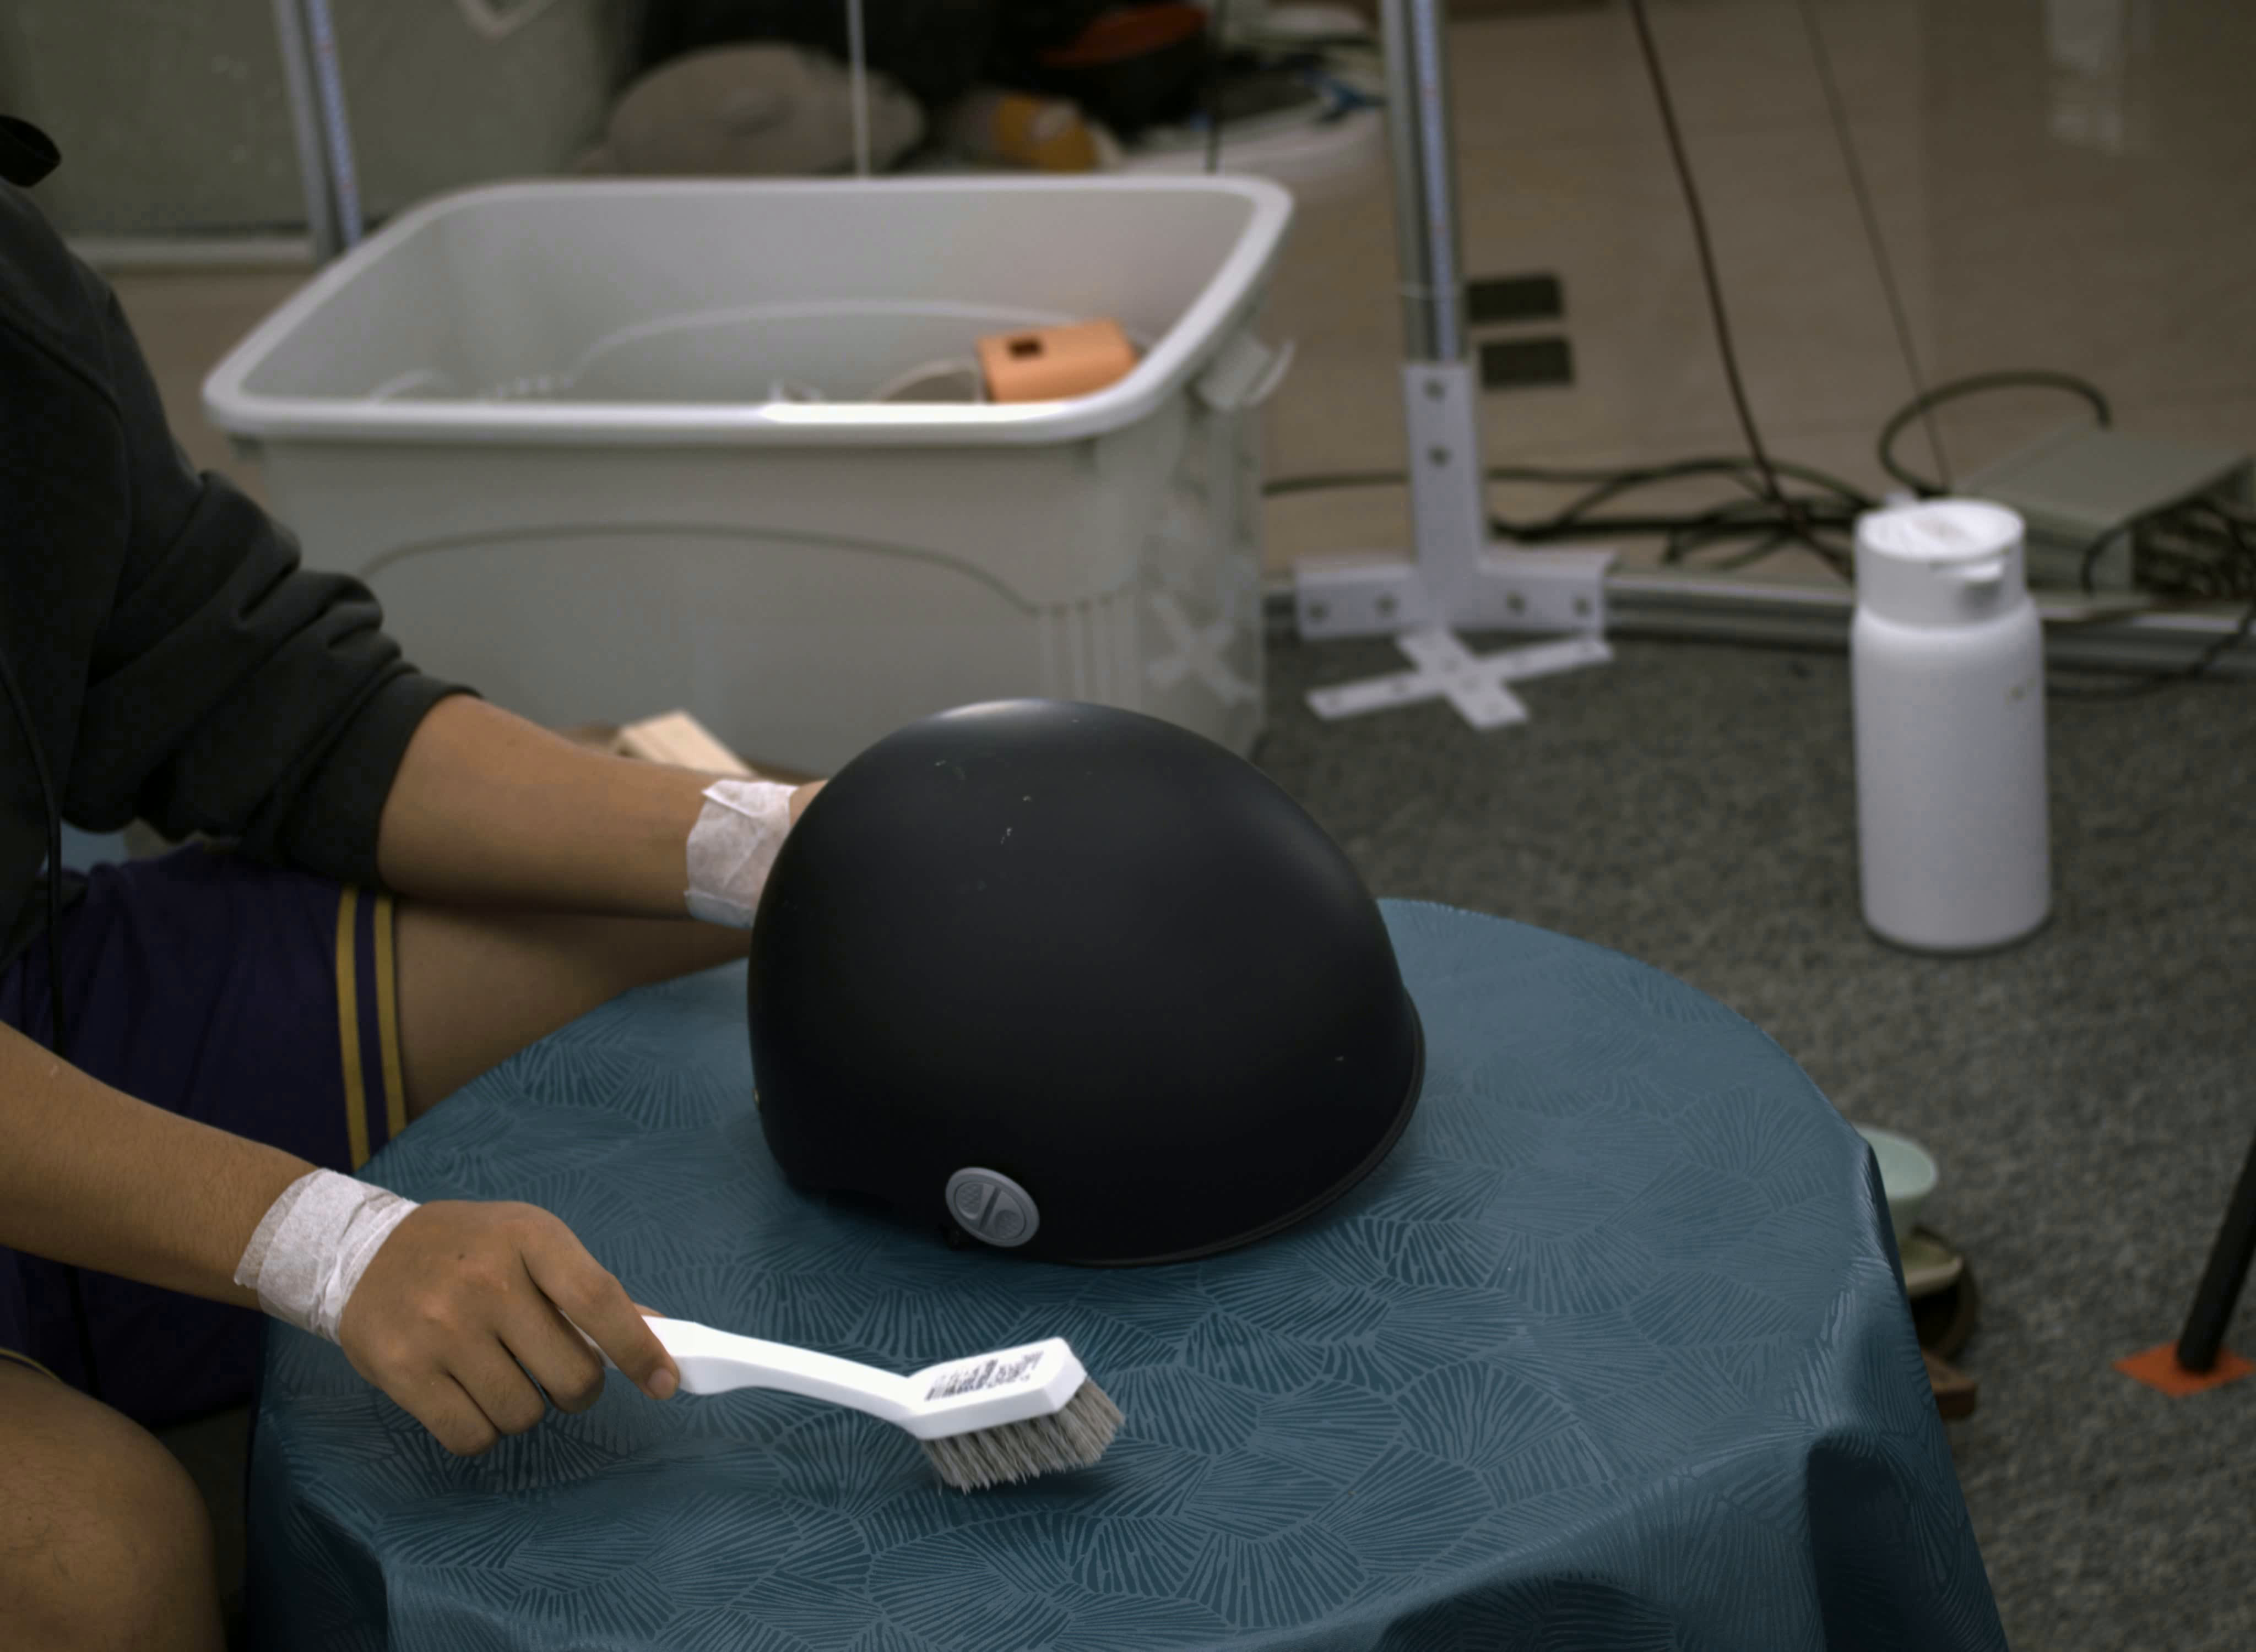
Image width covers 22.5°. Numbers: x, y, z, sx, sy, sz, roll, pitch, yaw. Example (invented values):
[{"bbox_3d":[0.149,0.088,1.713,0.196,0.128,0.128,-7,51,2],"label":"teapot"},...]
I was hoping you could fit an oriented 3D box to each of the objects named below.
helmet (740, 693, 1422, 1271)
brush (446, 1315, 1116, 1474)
[{"bbox_3d":[-0.030,0.042,2.149,0.271,0.170,0.227,16,48,37],"label":"helmet"},{"bbox_3d":[-0.123,0.197,1.978,0.243,0.051,0.034,0,30,18],"label":"brush"}]
